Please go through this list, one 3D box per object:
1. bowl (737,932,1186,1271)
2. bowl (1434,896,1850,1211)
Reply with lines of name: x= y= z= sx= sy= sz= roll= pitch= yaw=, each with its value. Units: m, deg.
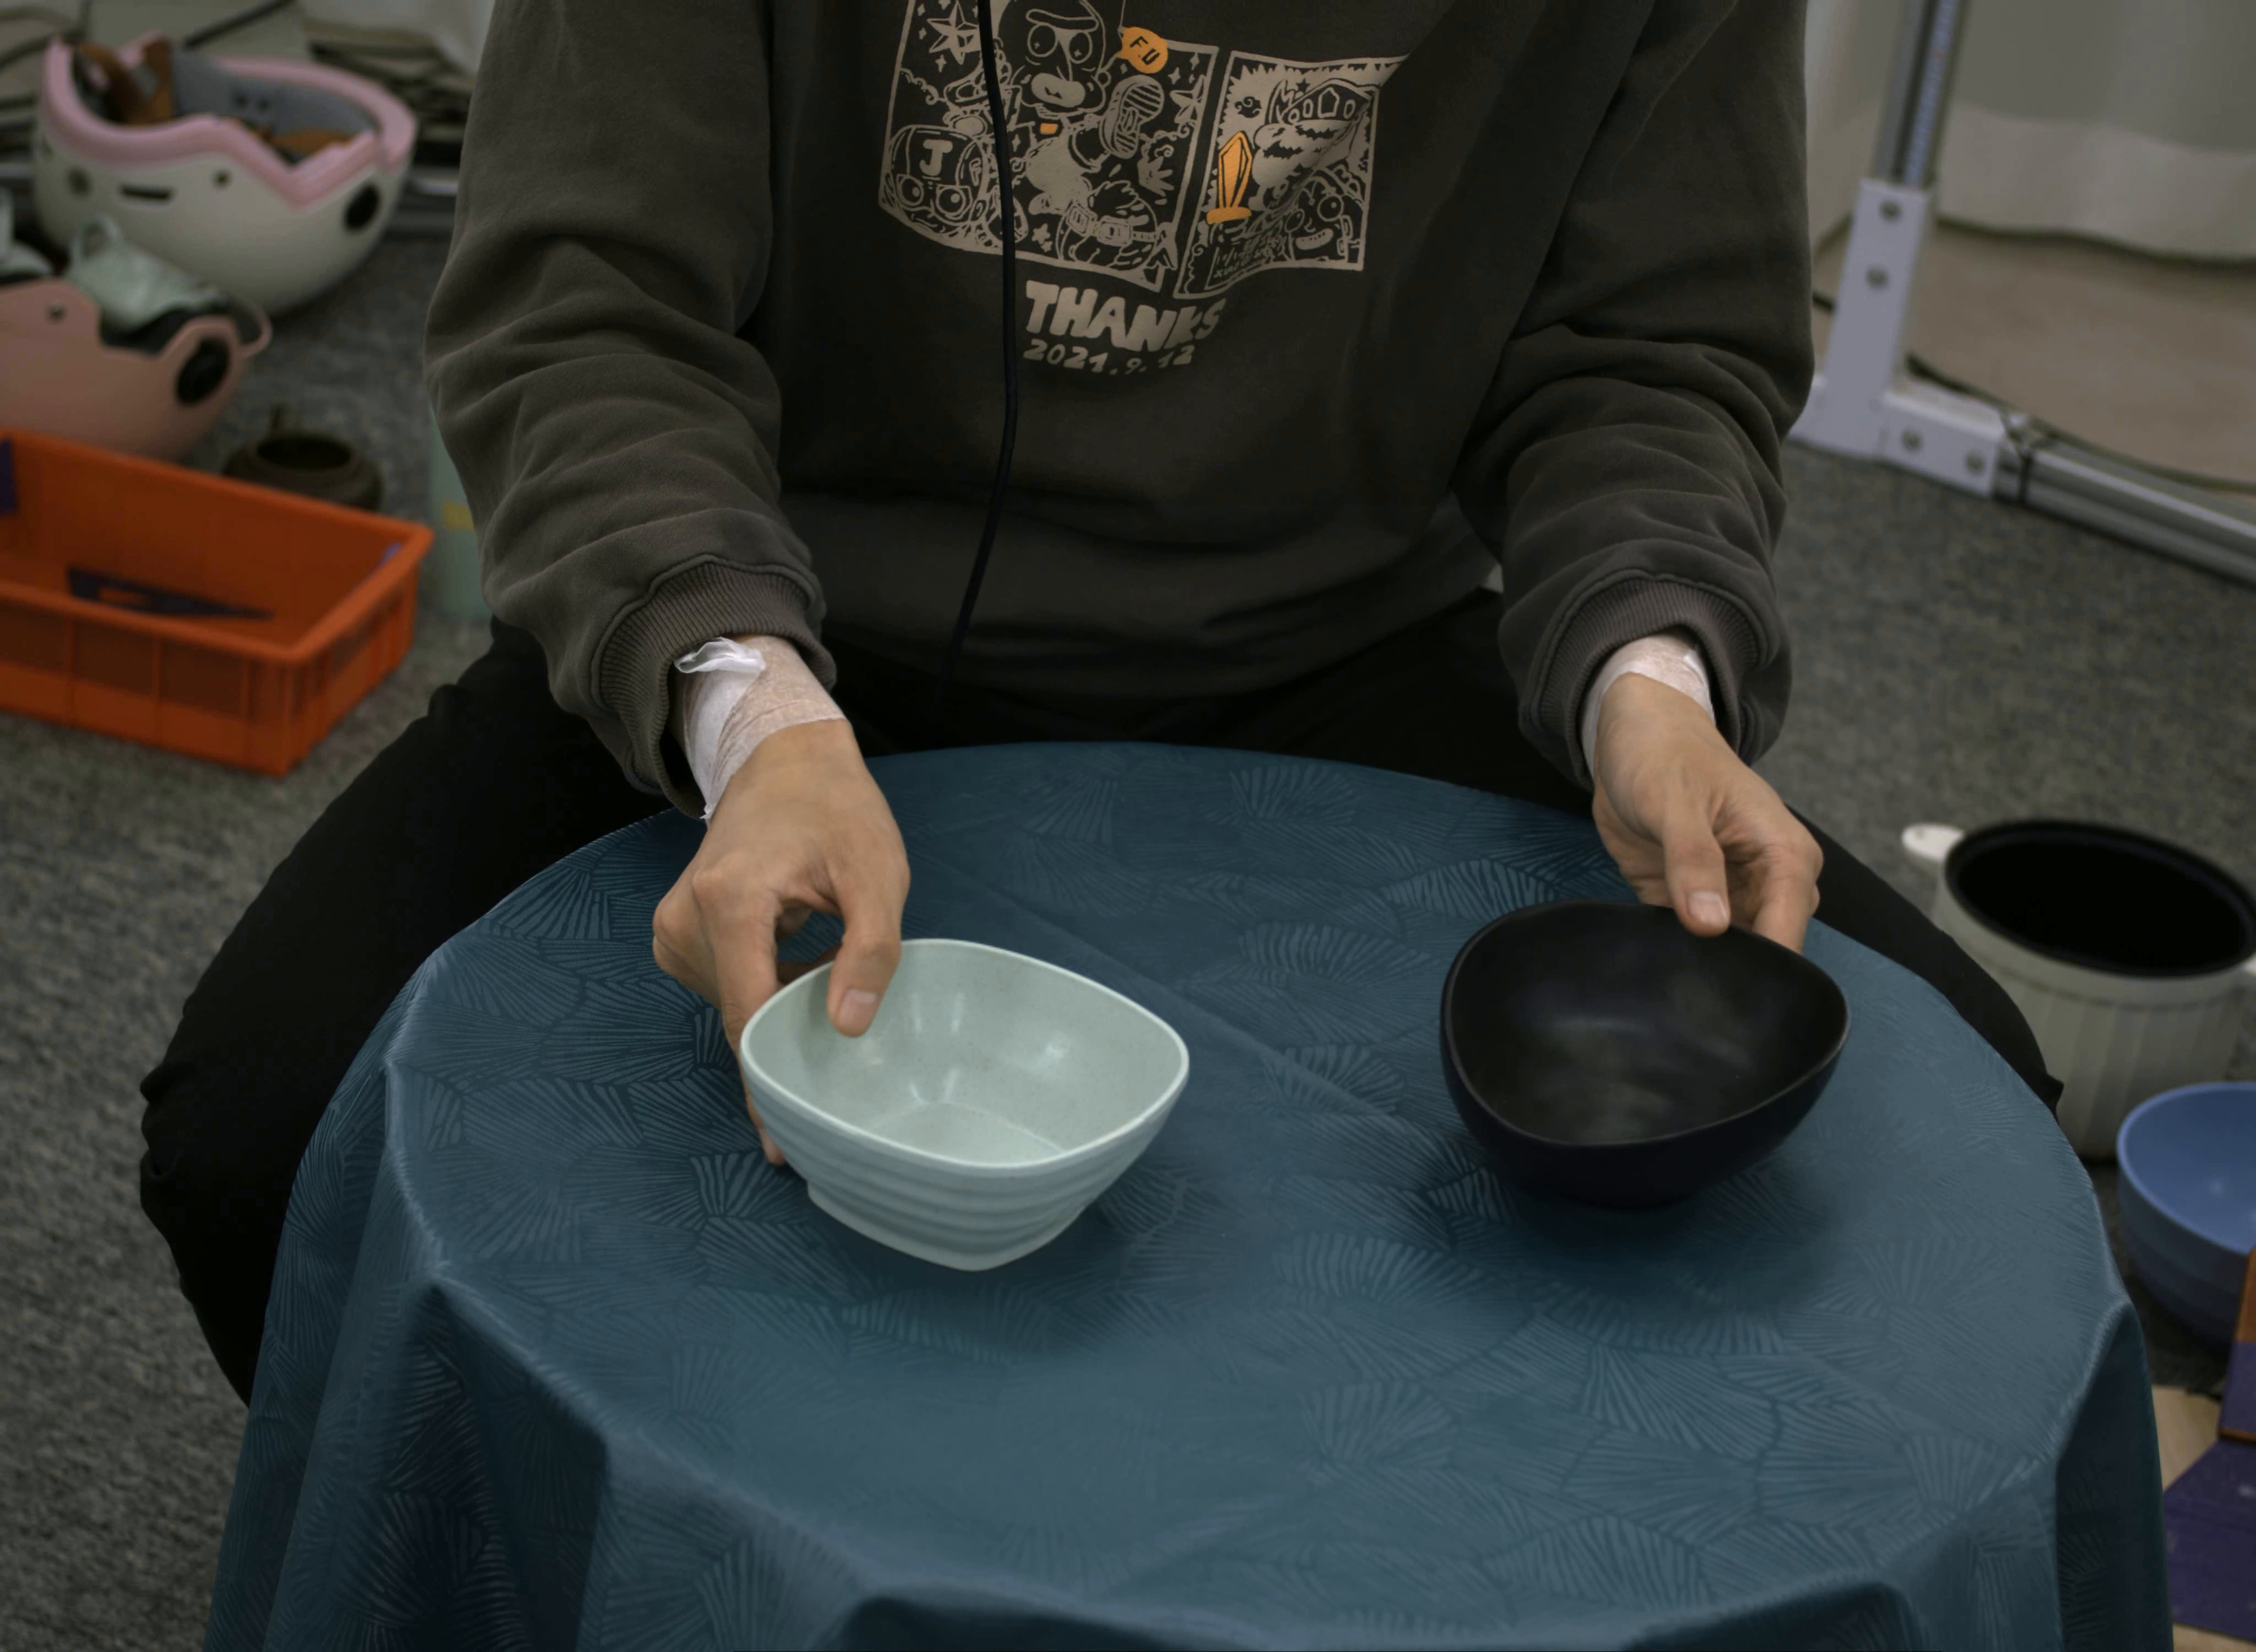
bowl: x=-0.058 y=0.098 z=1.778 sx=0.151 sy=0.058 sz=0.152 roll=6 pitch=28 yaw=-4
bowl: x=0.174 y=0.089 z=1.841 sx=0.138 sy=0.066 sz=0.170 roll=19 pitch=30 yaw=22
